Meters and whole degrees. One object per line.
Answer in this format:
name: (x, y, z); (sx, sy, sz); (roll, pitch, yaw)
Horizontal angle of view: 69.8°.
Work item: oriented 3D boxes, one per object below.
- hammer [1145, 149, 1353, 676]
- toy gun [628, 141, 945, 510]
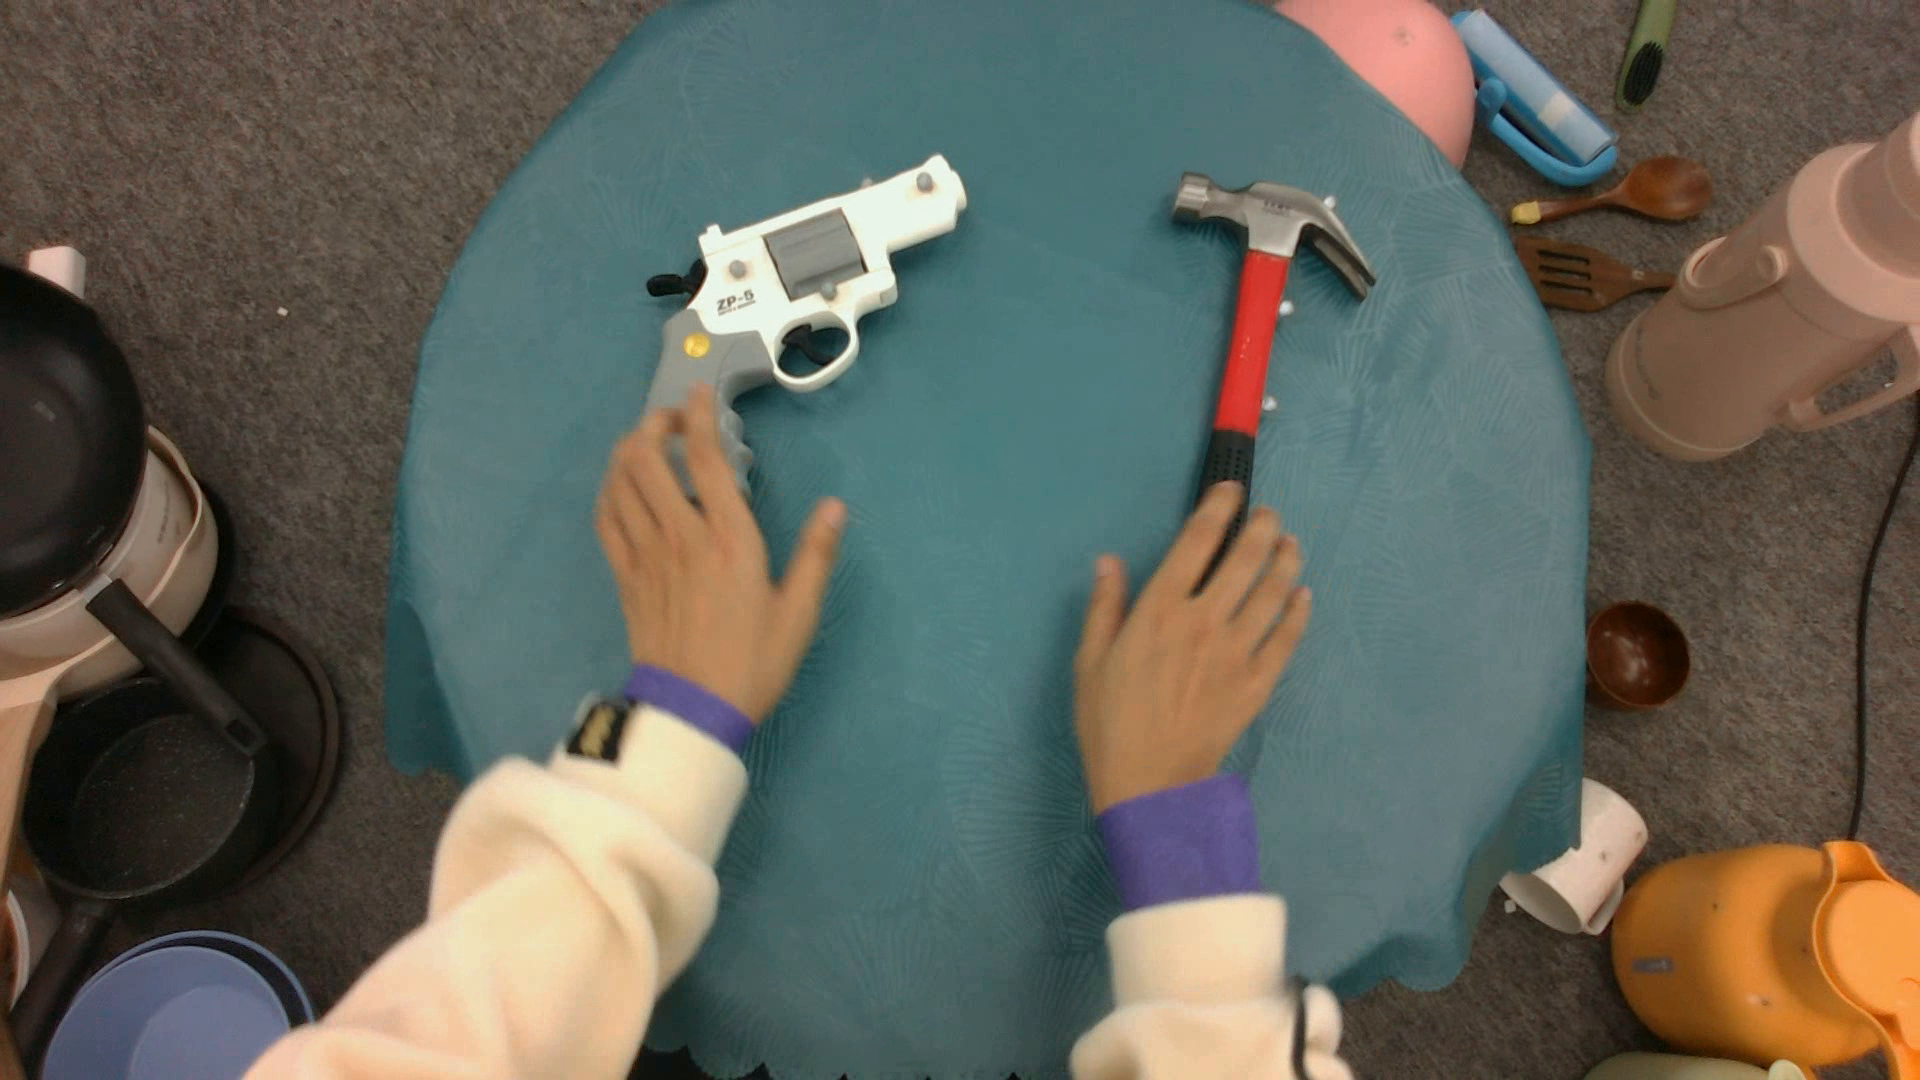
hammer: (0.133, -0.066, 0.697); (0.111, 0.026, 0.278); (16, 71, -8)
toy gun: (-0.085, -0.111, 0.686); (0.209, 0.038, 0.142); (-24, 70, -9)
